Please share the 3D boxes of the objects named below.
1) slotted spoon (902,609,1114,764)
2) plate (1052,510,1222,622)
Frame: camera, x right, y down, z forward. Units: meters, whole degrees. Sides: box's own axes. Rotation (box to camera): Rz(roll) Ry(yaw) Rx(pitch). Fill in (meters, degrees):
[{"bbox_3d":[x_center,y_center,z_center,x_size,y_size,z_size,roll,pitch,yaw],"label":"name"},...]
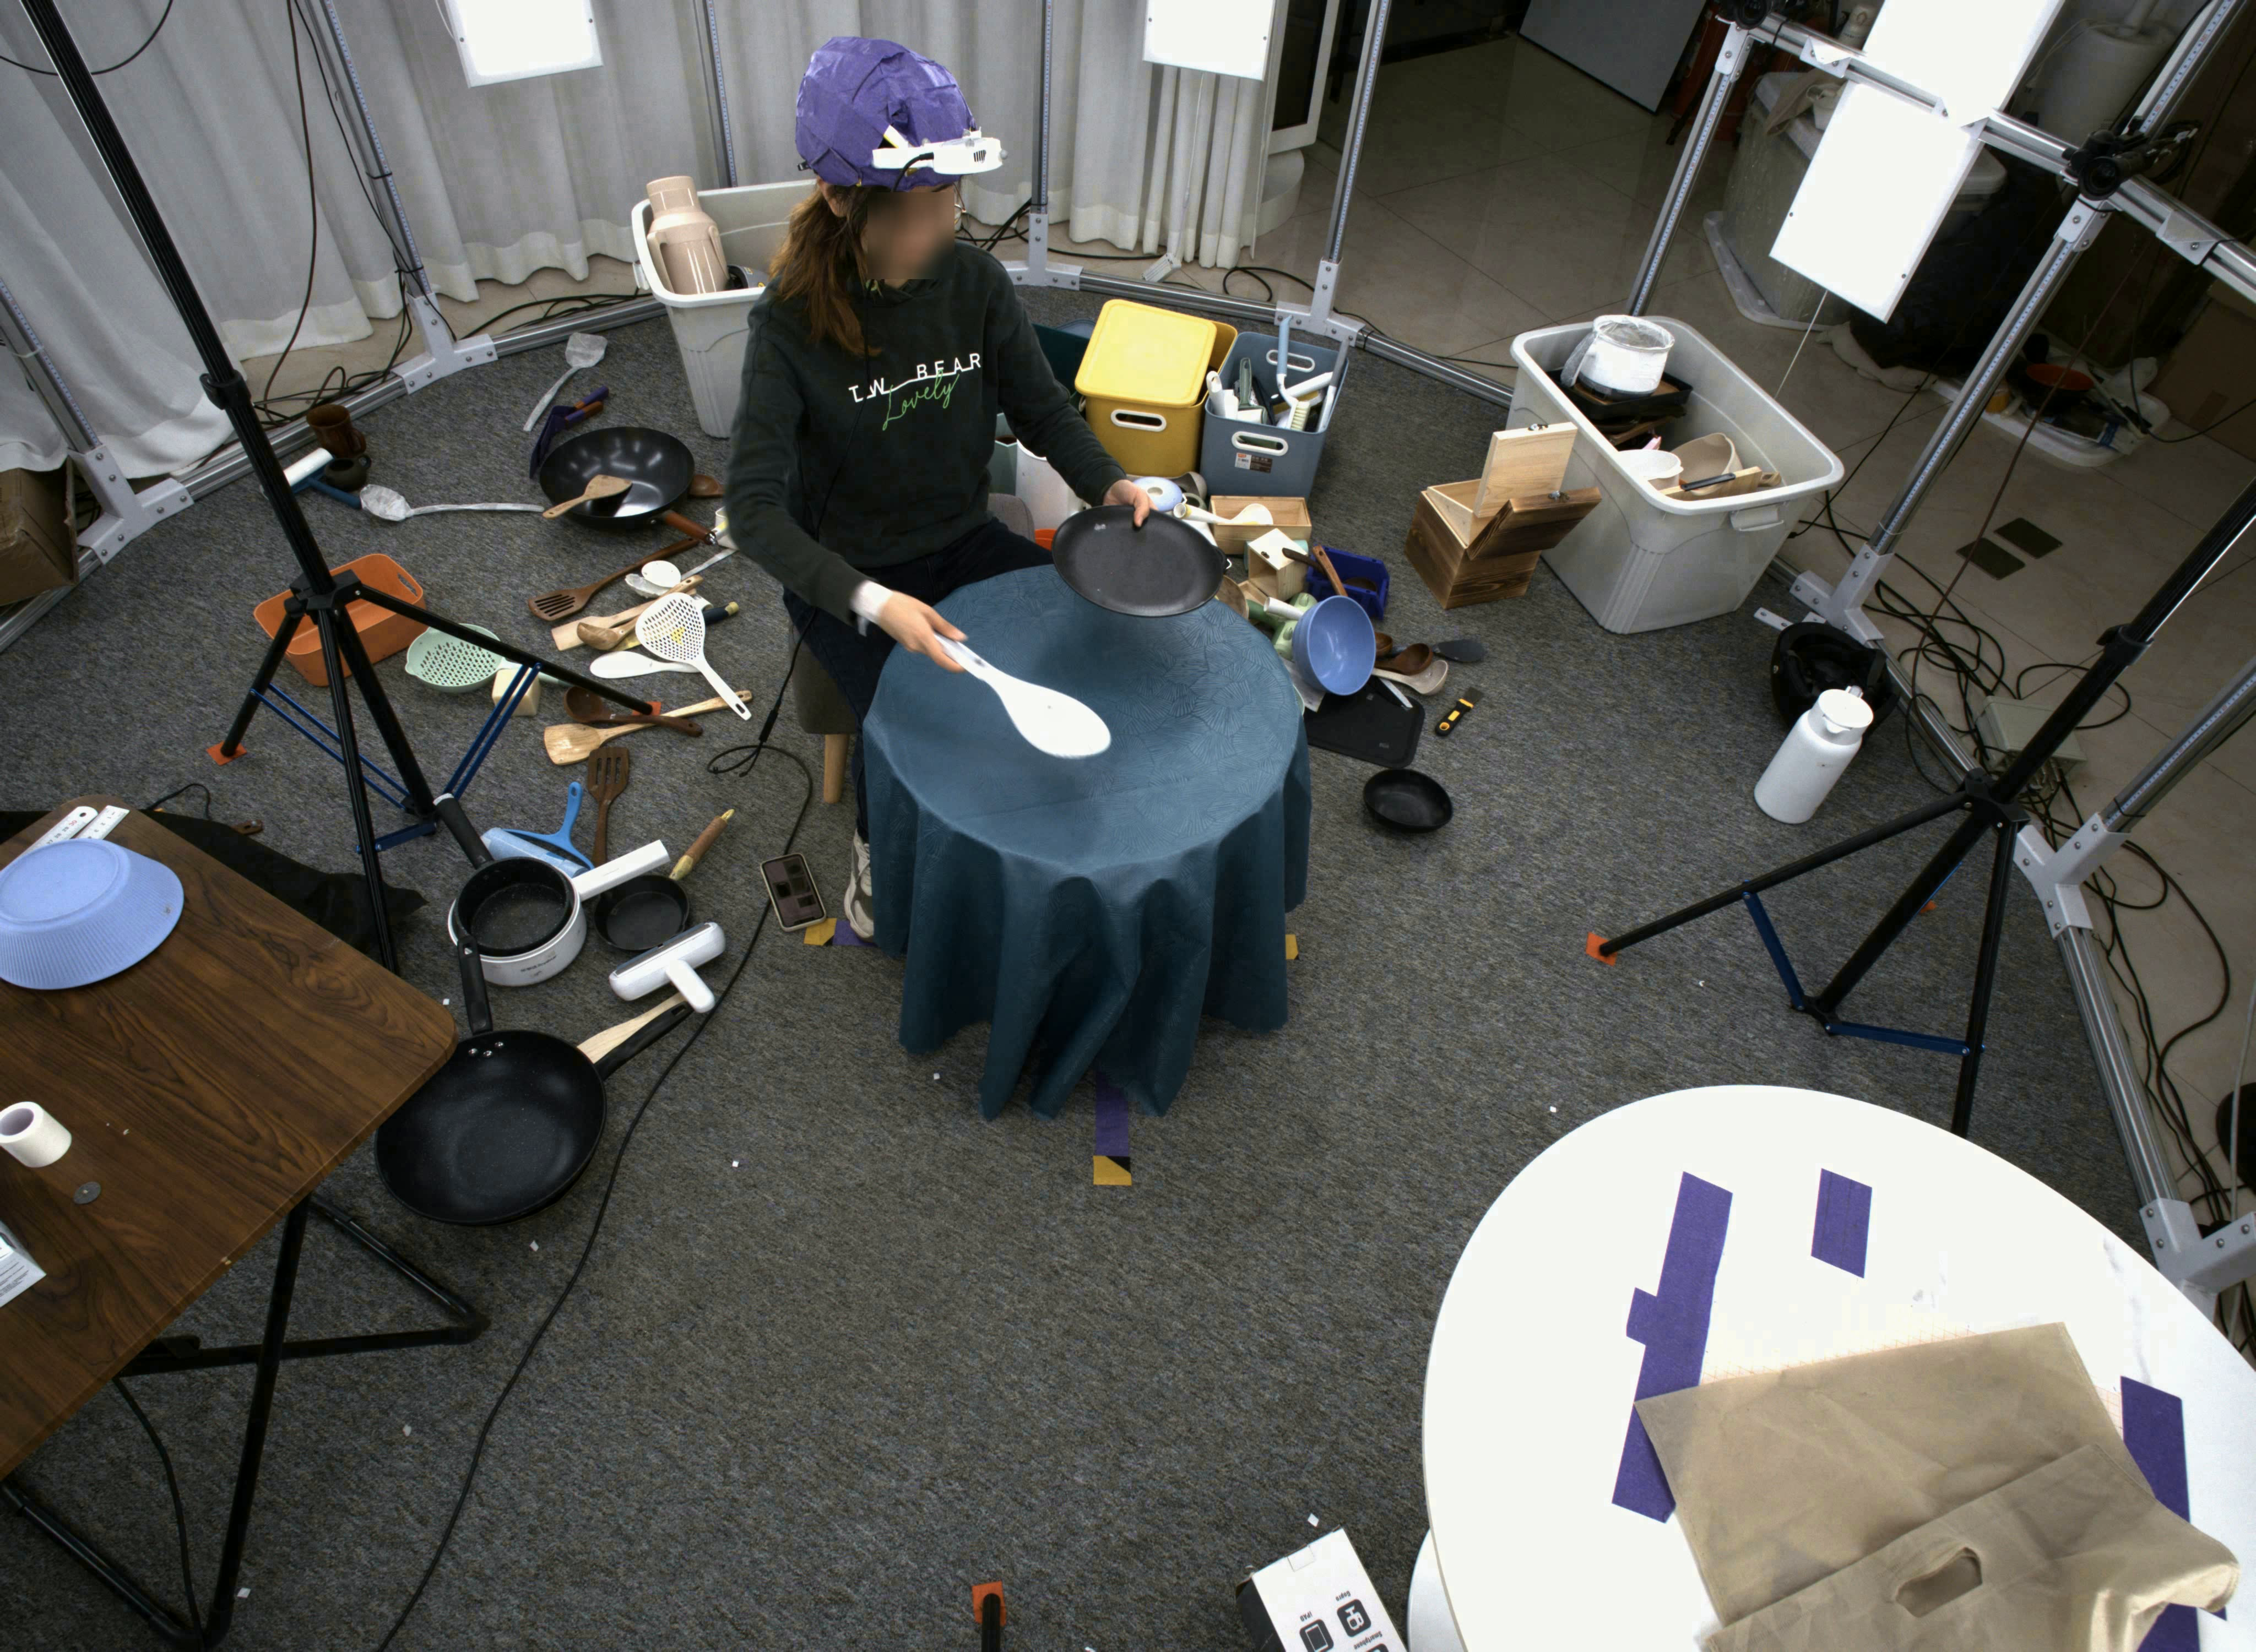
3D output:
[{"bbox_3d":[-0.165,-0.185,1.685,0.353,0.045,0.137,41,33,16],"label":"slotted spoon"},{"bbox_3d":[0.012,-0.364,1.815,0.244,0.023,0.250,6,47,-7],"label":"plate"}]
